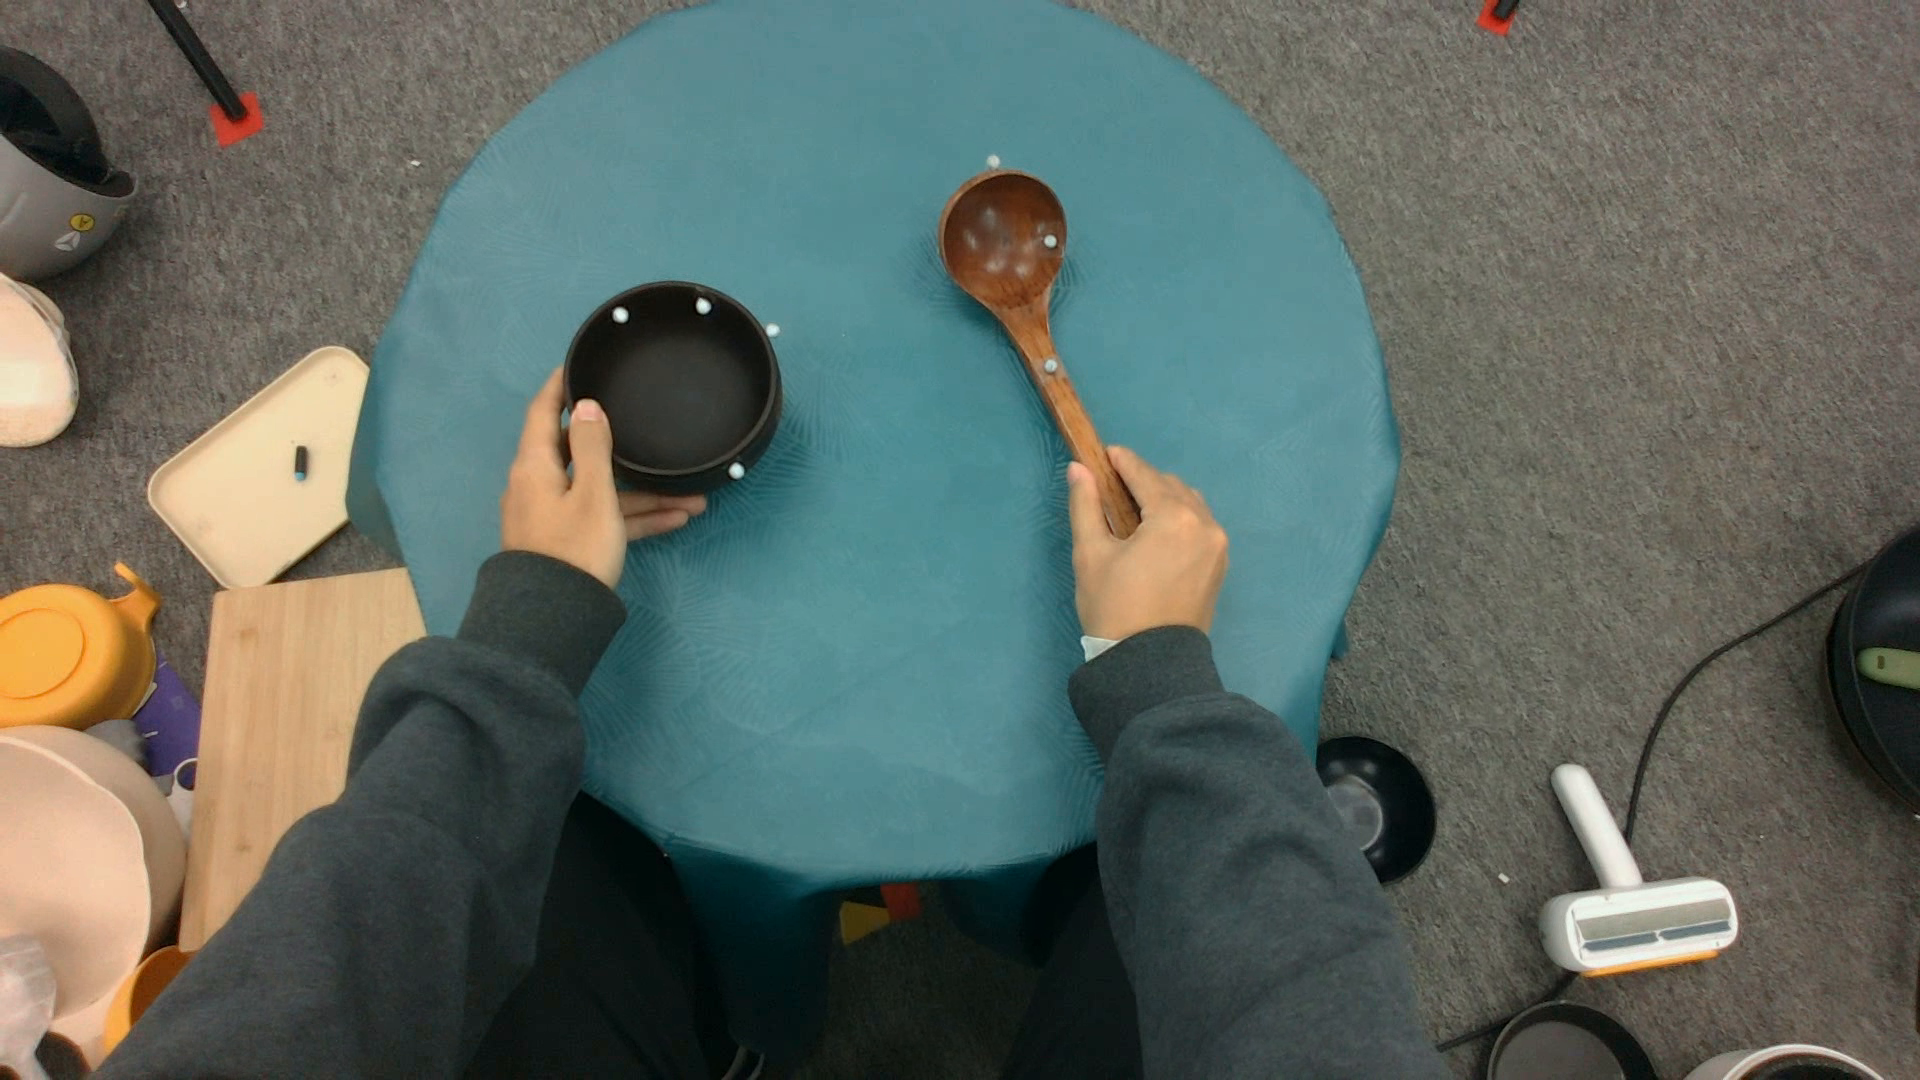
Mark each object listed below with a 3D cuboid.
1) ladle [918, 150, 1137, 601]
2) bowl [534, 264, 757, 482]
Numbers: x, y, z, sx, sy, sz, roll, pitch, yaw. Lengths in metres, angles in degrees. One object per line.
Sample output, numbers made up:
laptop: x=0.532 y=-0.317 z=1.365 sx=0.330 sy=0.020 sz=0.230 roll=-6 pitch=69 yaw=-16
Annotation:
ladle: x=0.049 y=-0.101 z=0.780 sx=0.082 sy=0.076 sz=0.275 roll=-17 pitch=65 yaw=-9
bowl: x=-0.172 y=-0.087 z=0.767 sx=0.118 sy=0.069 sz=0.118 roll=2 pitch=72 yaw=-5
